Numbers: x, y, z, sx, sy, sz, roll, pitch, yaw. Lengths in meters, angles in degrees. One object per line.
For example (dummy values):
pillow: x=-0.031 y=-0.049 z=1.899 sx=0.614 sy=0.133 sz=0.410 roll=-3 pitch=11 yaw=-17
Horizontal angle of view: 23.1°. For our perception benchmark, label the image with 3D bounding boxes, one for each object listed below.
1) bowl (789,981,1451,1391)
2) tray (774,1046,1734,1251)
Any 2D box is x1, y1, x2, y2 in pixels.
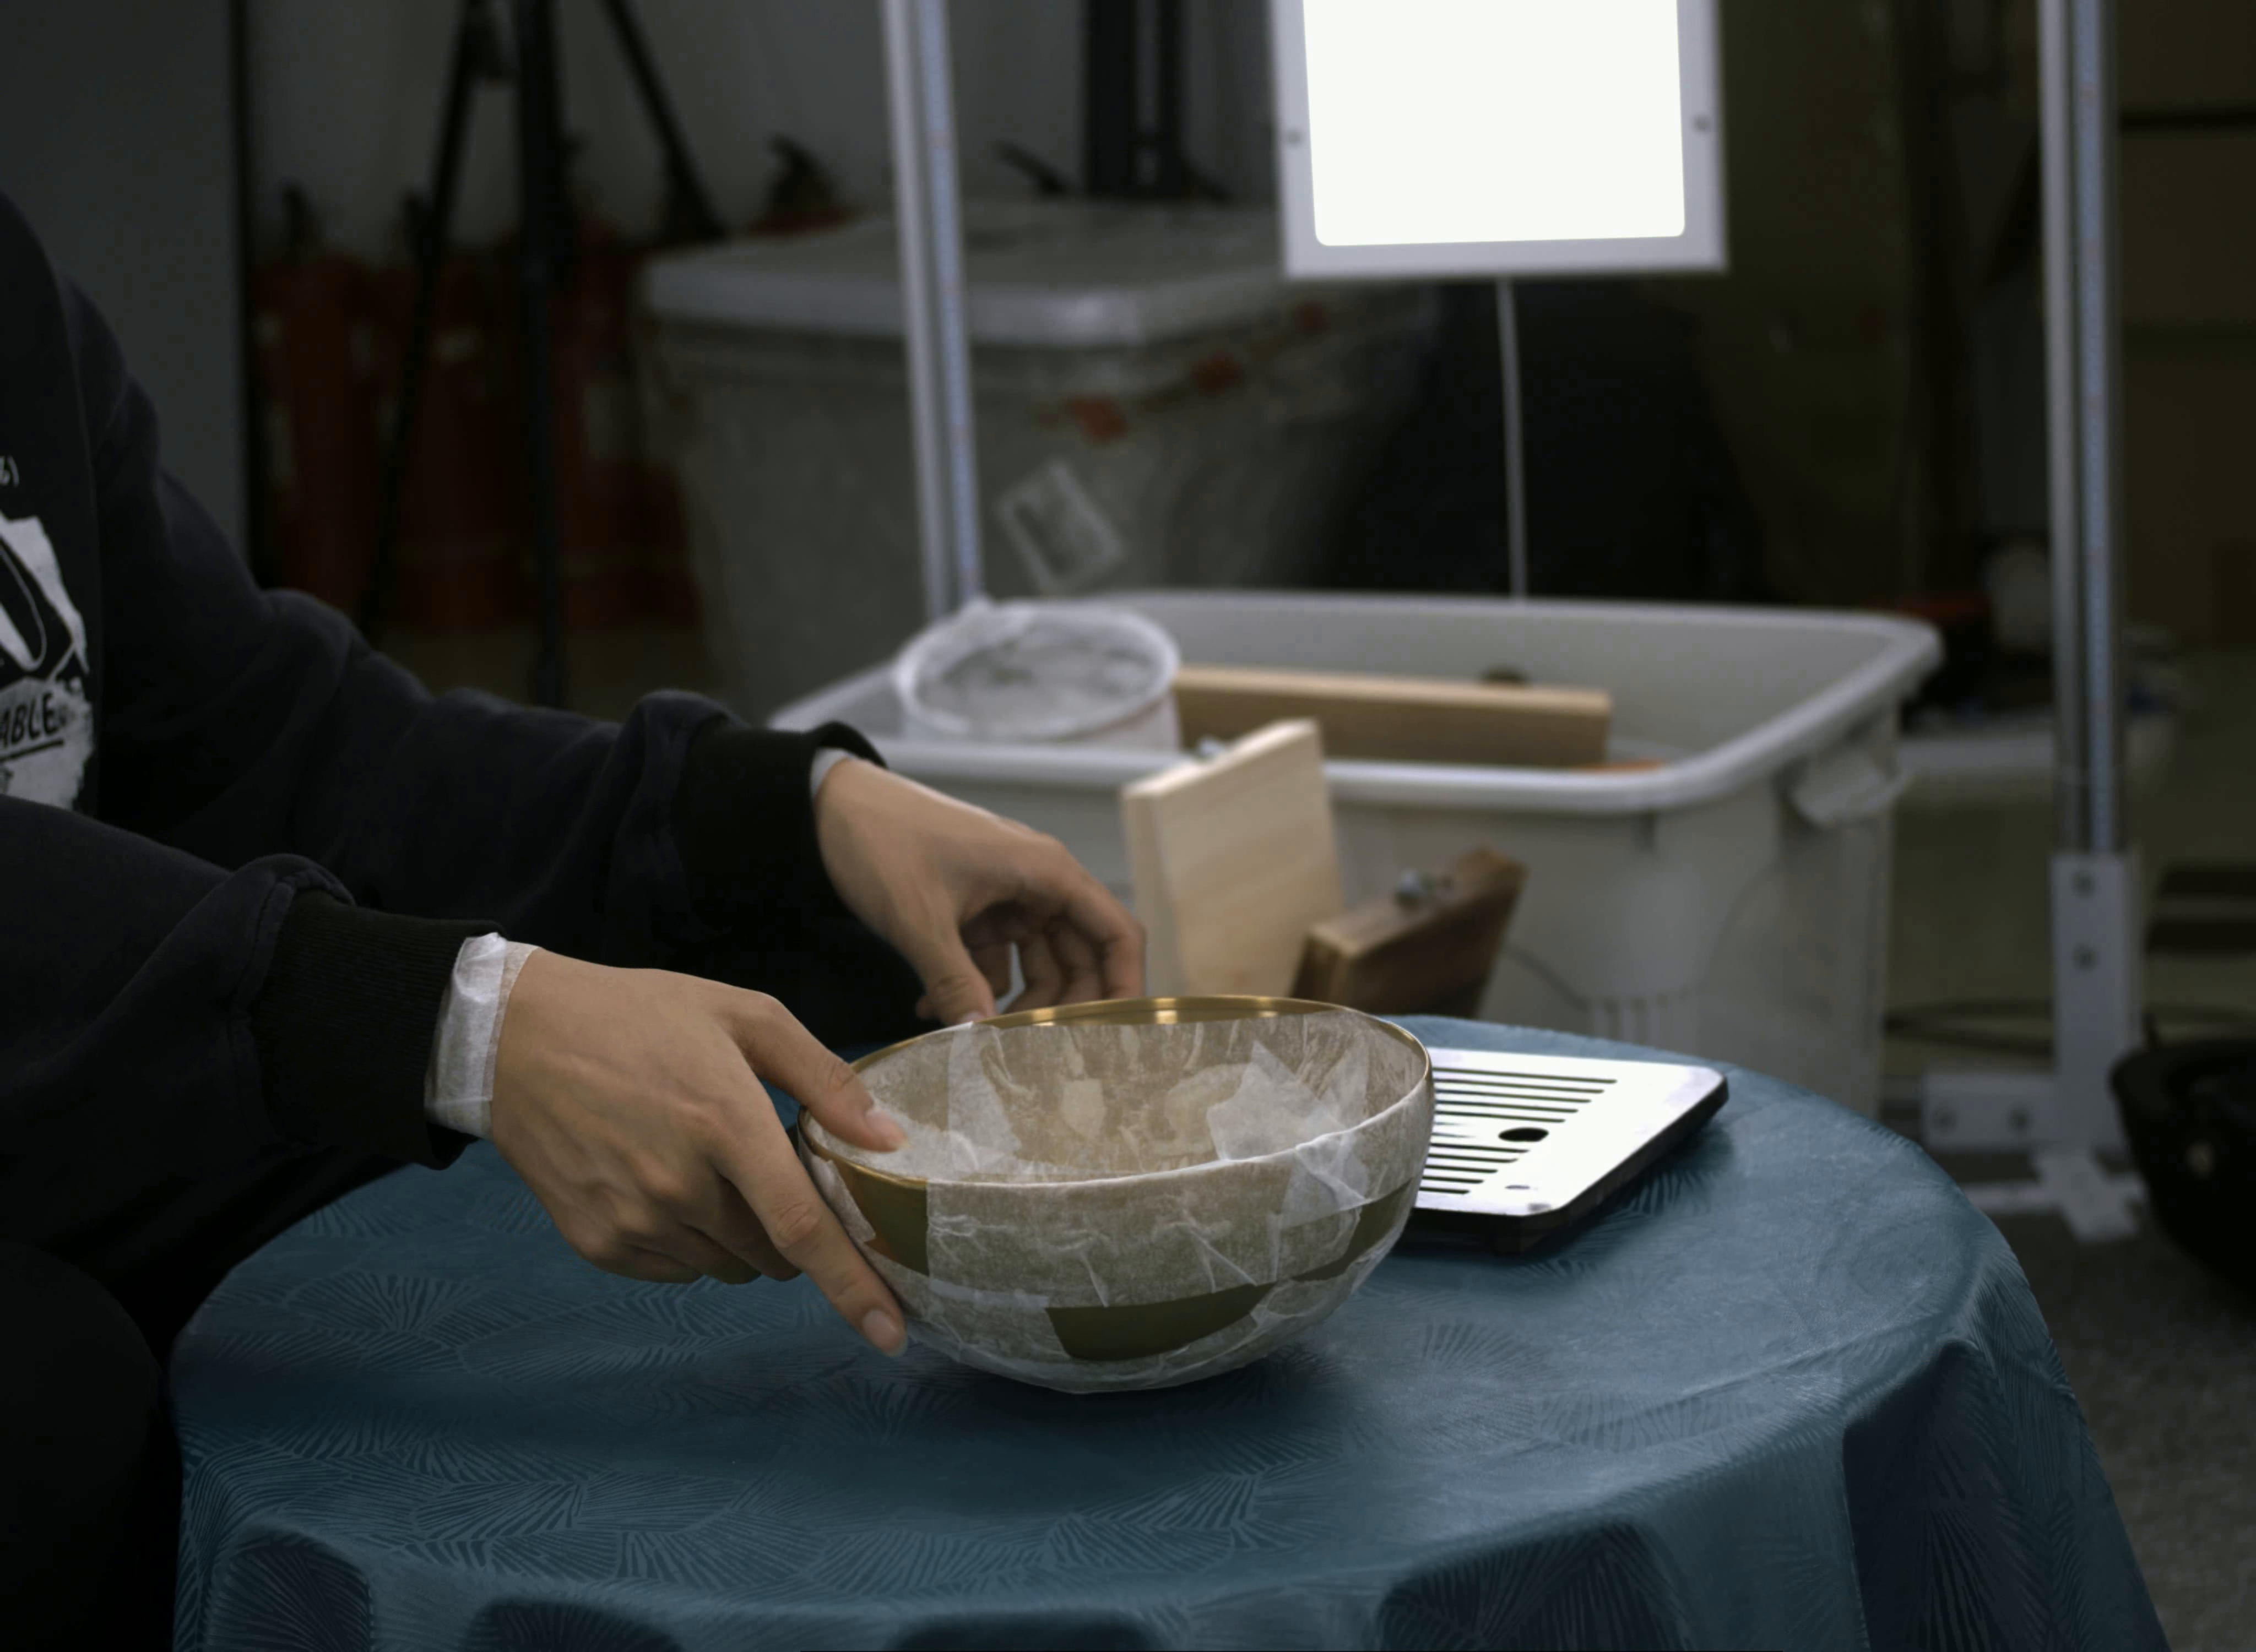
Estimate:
bowl: x=0.001 y=0.120 z=1.725 sx=0.214 sy=0.095 sz=0.214 roll=-6 pitch=14 yaw=0
tray: x=0.044 y=0.106 z=1.927 sx=0.311 sy=0.019 sz=0.166 roll=3 pitch=16 yaw=30
